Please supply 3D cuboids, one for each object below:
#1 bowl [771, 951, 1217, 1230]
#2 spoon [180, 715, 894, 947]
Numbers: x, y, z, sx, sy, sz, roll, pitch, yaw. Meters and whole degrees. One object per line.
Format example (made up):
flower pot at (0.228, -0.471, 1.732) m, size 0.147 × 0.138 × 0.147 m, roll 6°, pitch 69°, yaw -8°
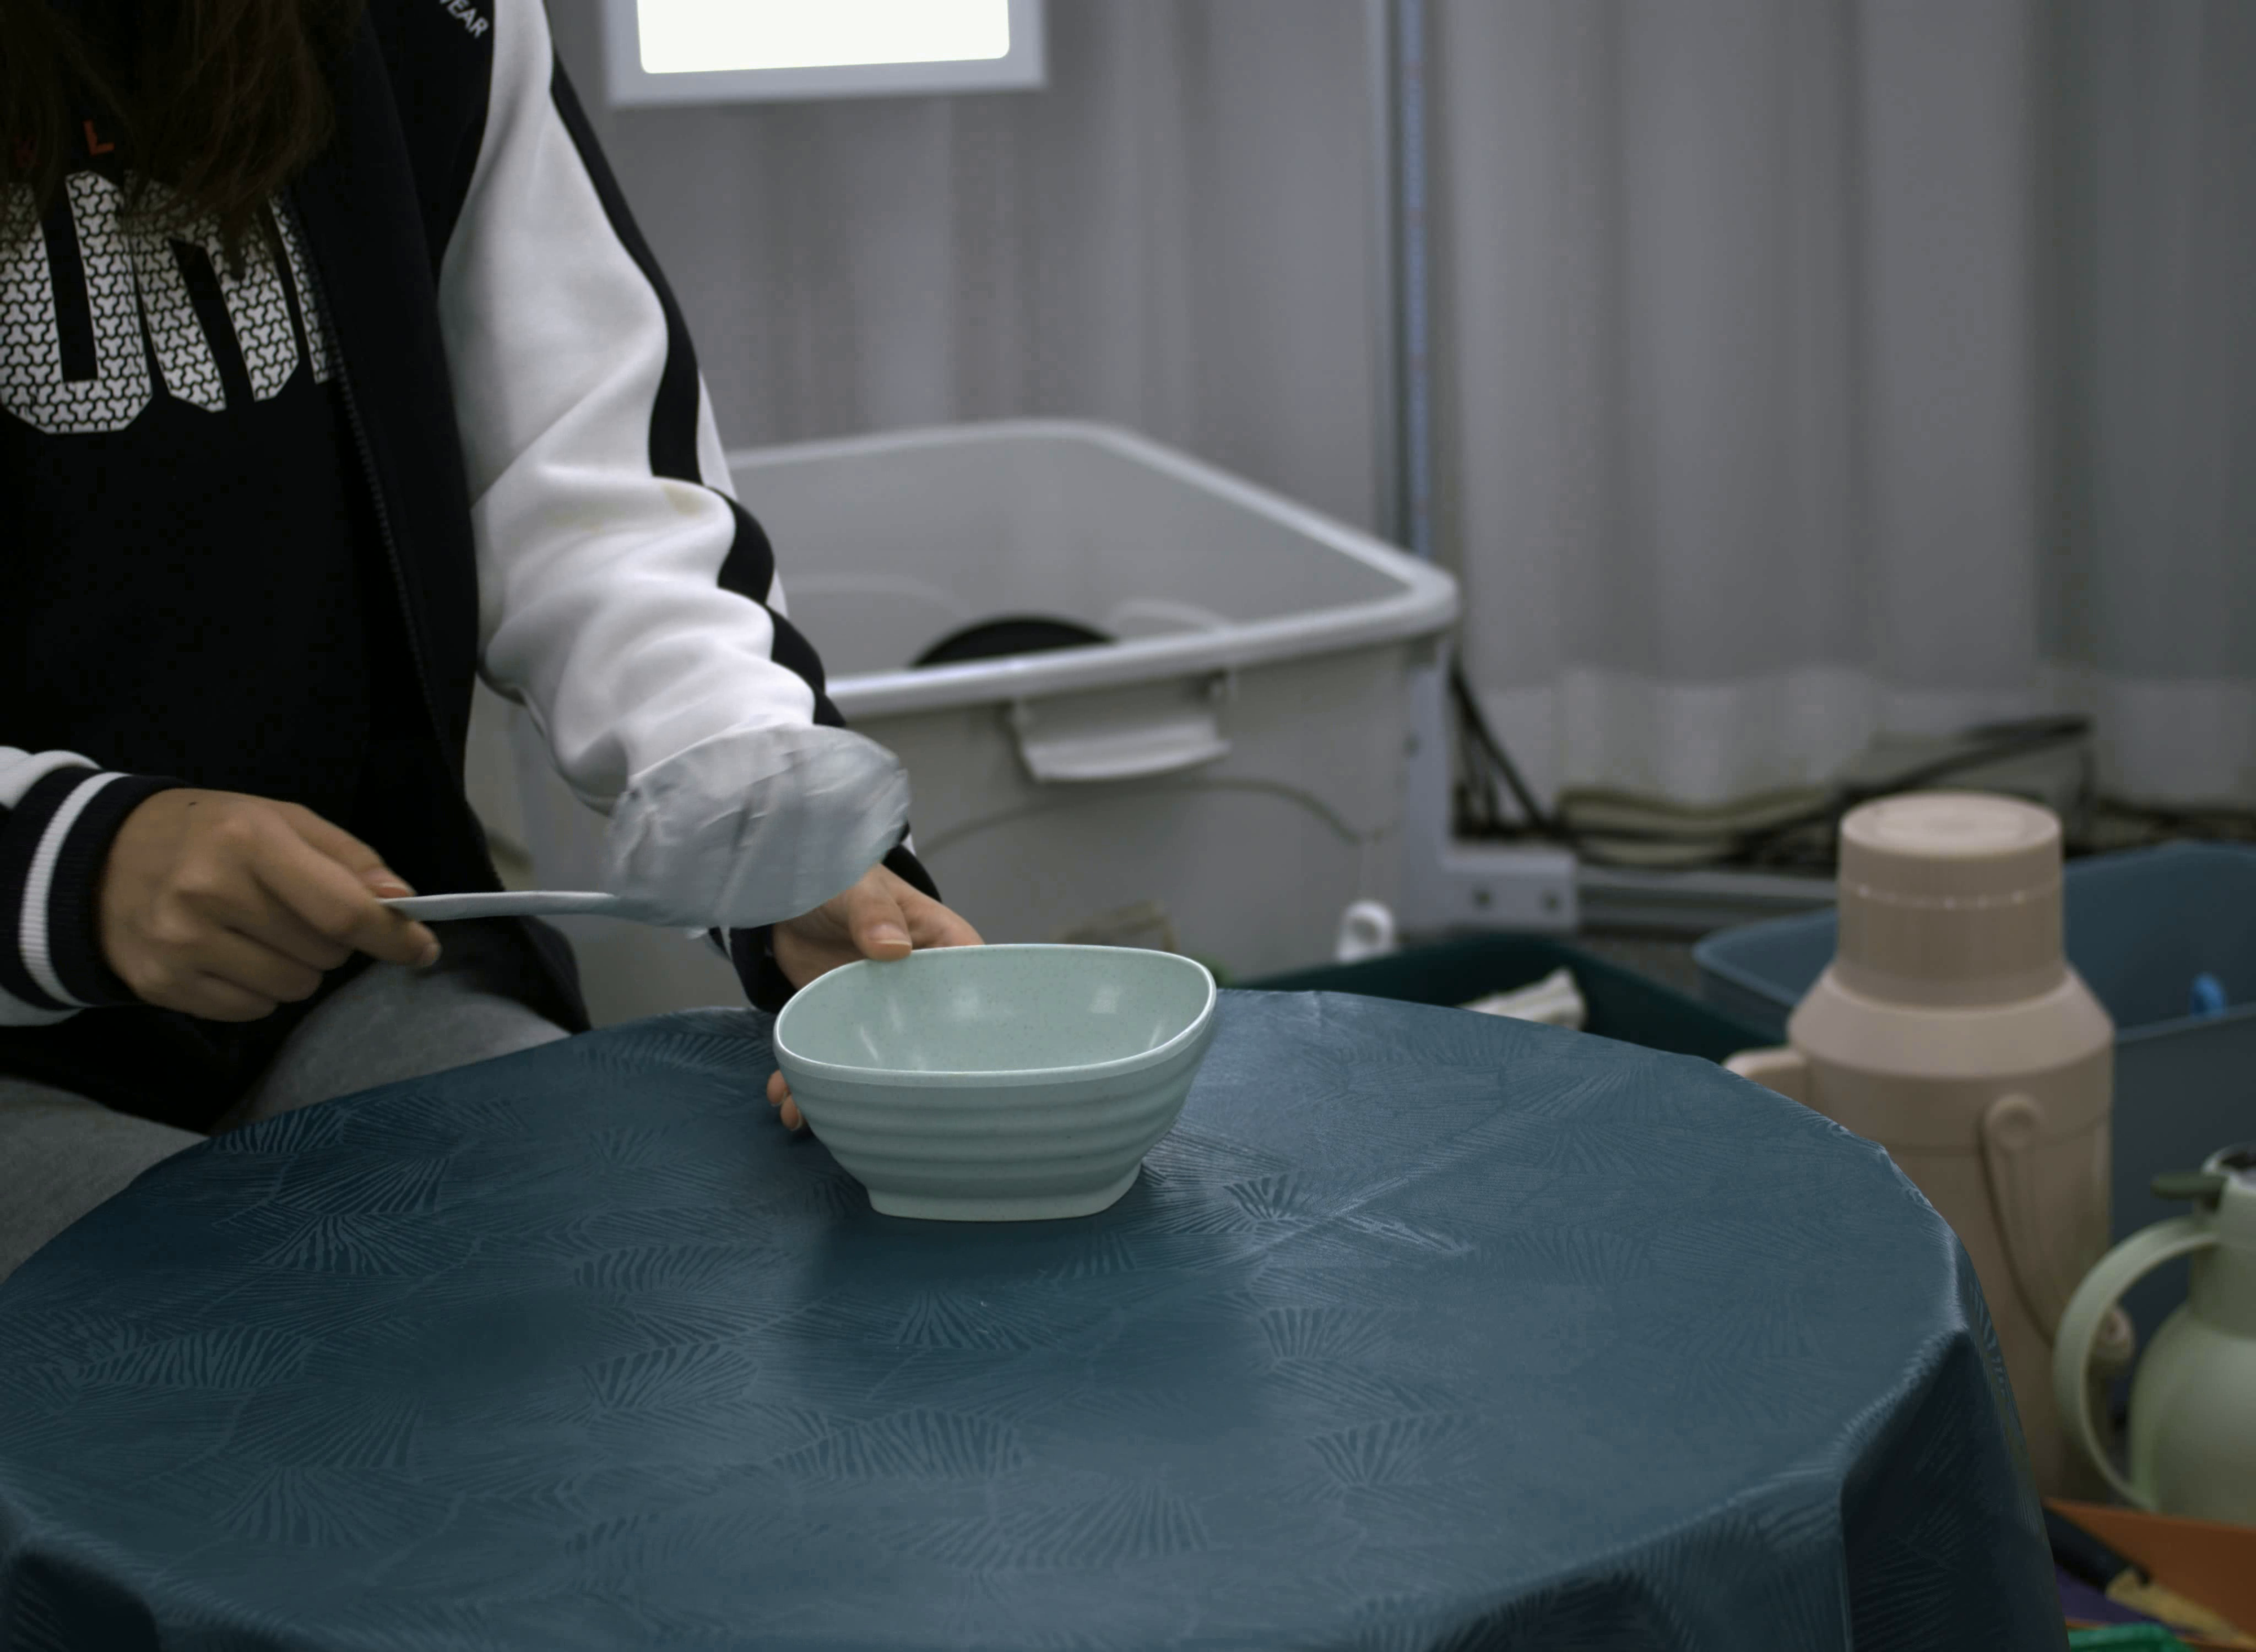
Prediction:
bowl at (-0.041, 0.087, 1.726) m, size 0.151 × 0.058 × 0.152 m, roll -2°, pitch 15°, yaw 0°
spoon at (-0.190, 0.008, 1.708) m, size 0.278 × 0.060 × 0.099 m, roll -3°, pitch -32°, yaw 40°
